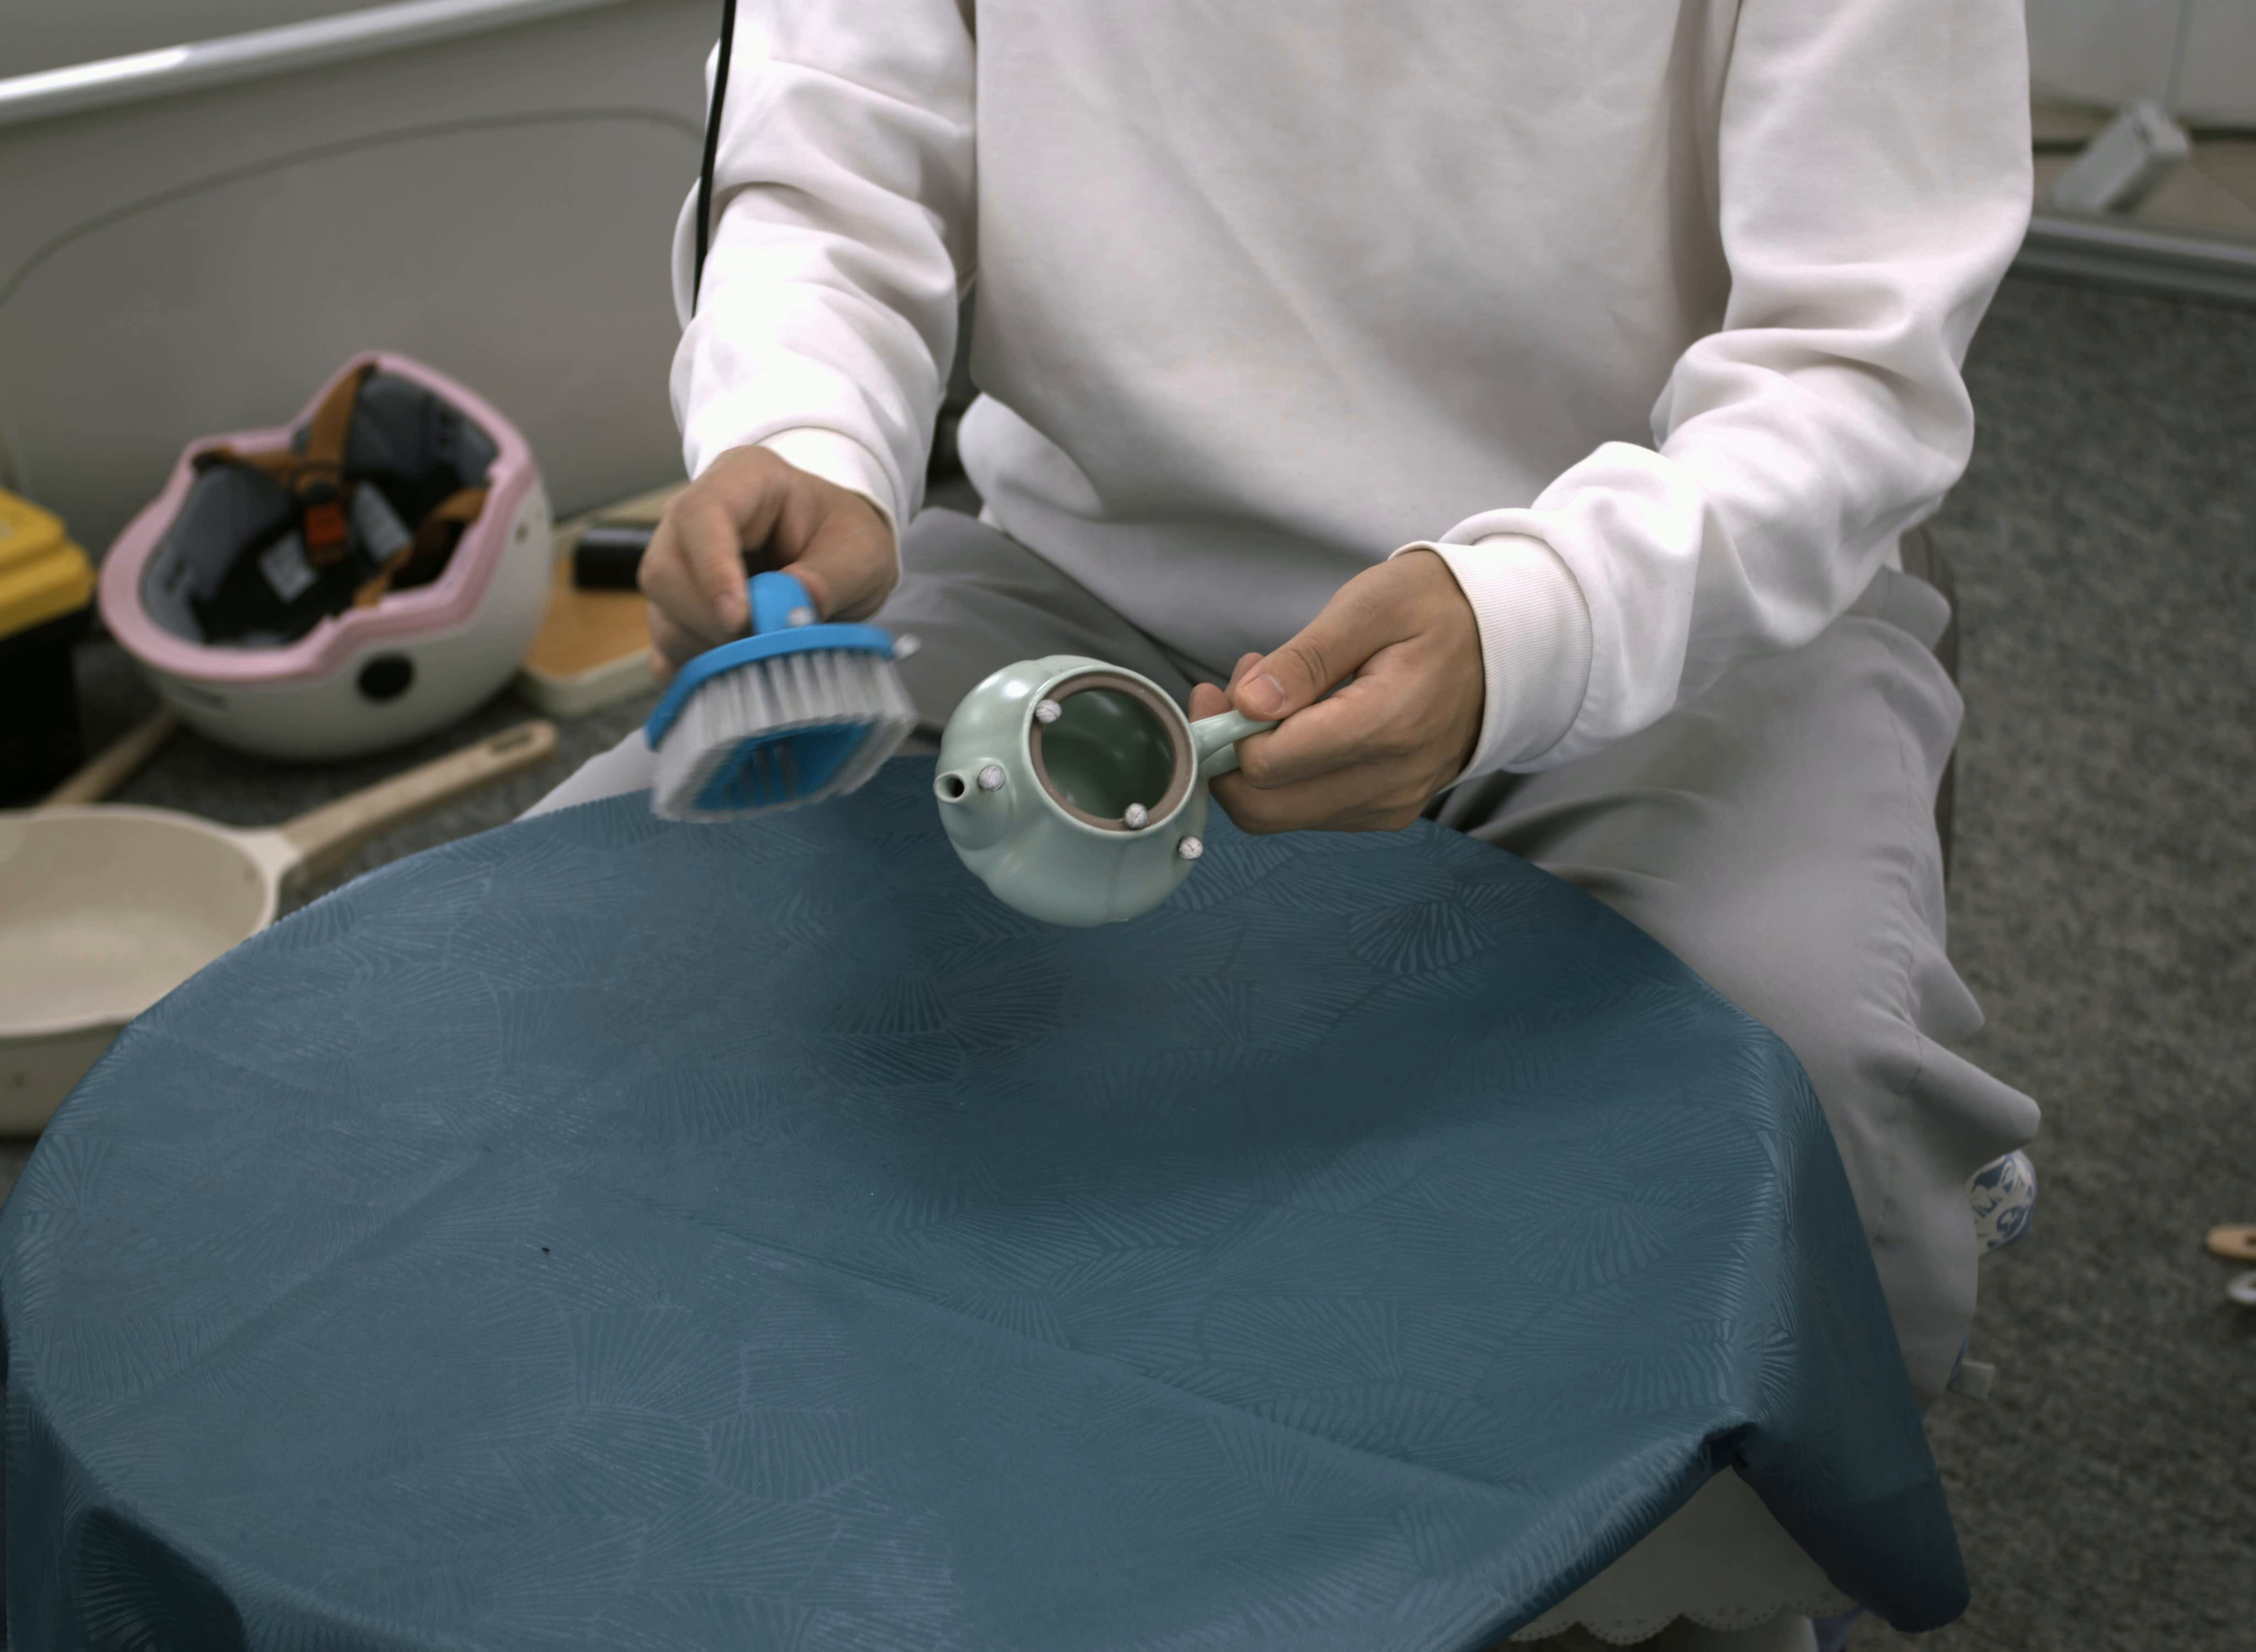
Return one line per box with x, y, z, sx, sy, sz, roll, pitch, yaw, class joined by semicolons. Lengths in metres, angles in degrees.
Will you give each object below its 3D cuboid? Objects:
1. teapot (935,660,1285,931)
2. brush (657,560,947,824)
-0.011;-0.016;1.889;0.138;0.060;0.097;-16;73;-25;teapot
-0.117;-0.051;1.917;0.084;0.064;0.140;-16;-11;-19;brush
